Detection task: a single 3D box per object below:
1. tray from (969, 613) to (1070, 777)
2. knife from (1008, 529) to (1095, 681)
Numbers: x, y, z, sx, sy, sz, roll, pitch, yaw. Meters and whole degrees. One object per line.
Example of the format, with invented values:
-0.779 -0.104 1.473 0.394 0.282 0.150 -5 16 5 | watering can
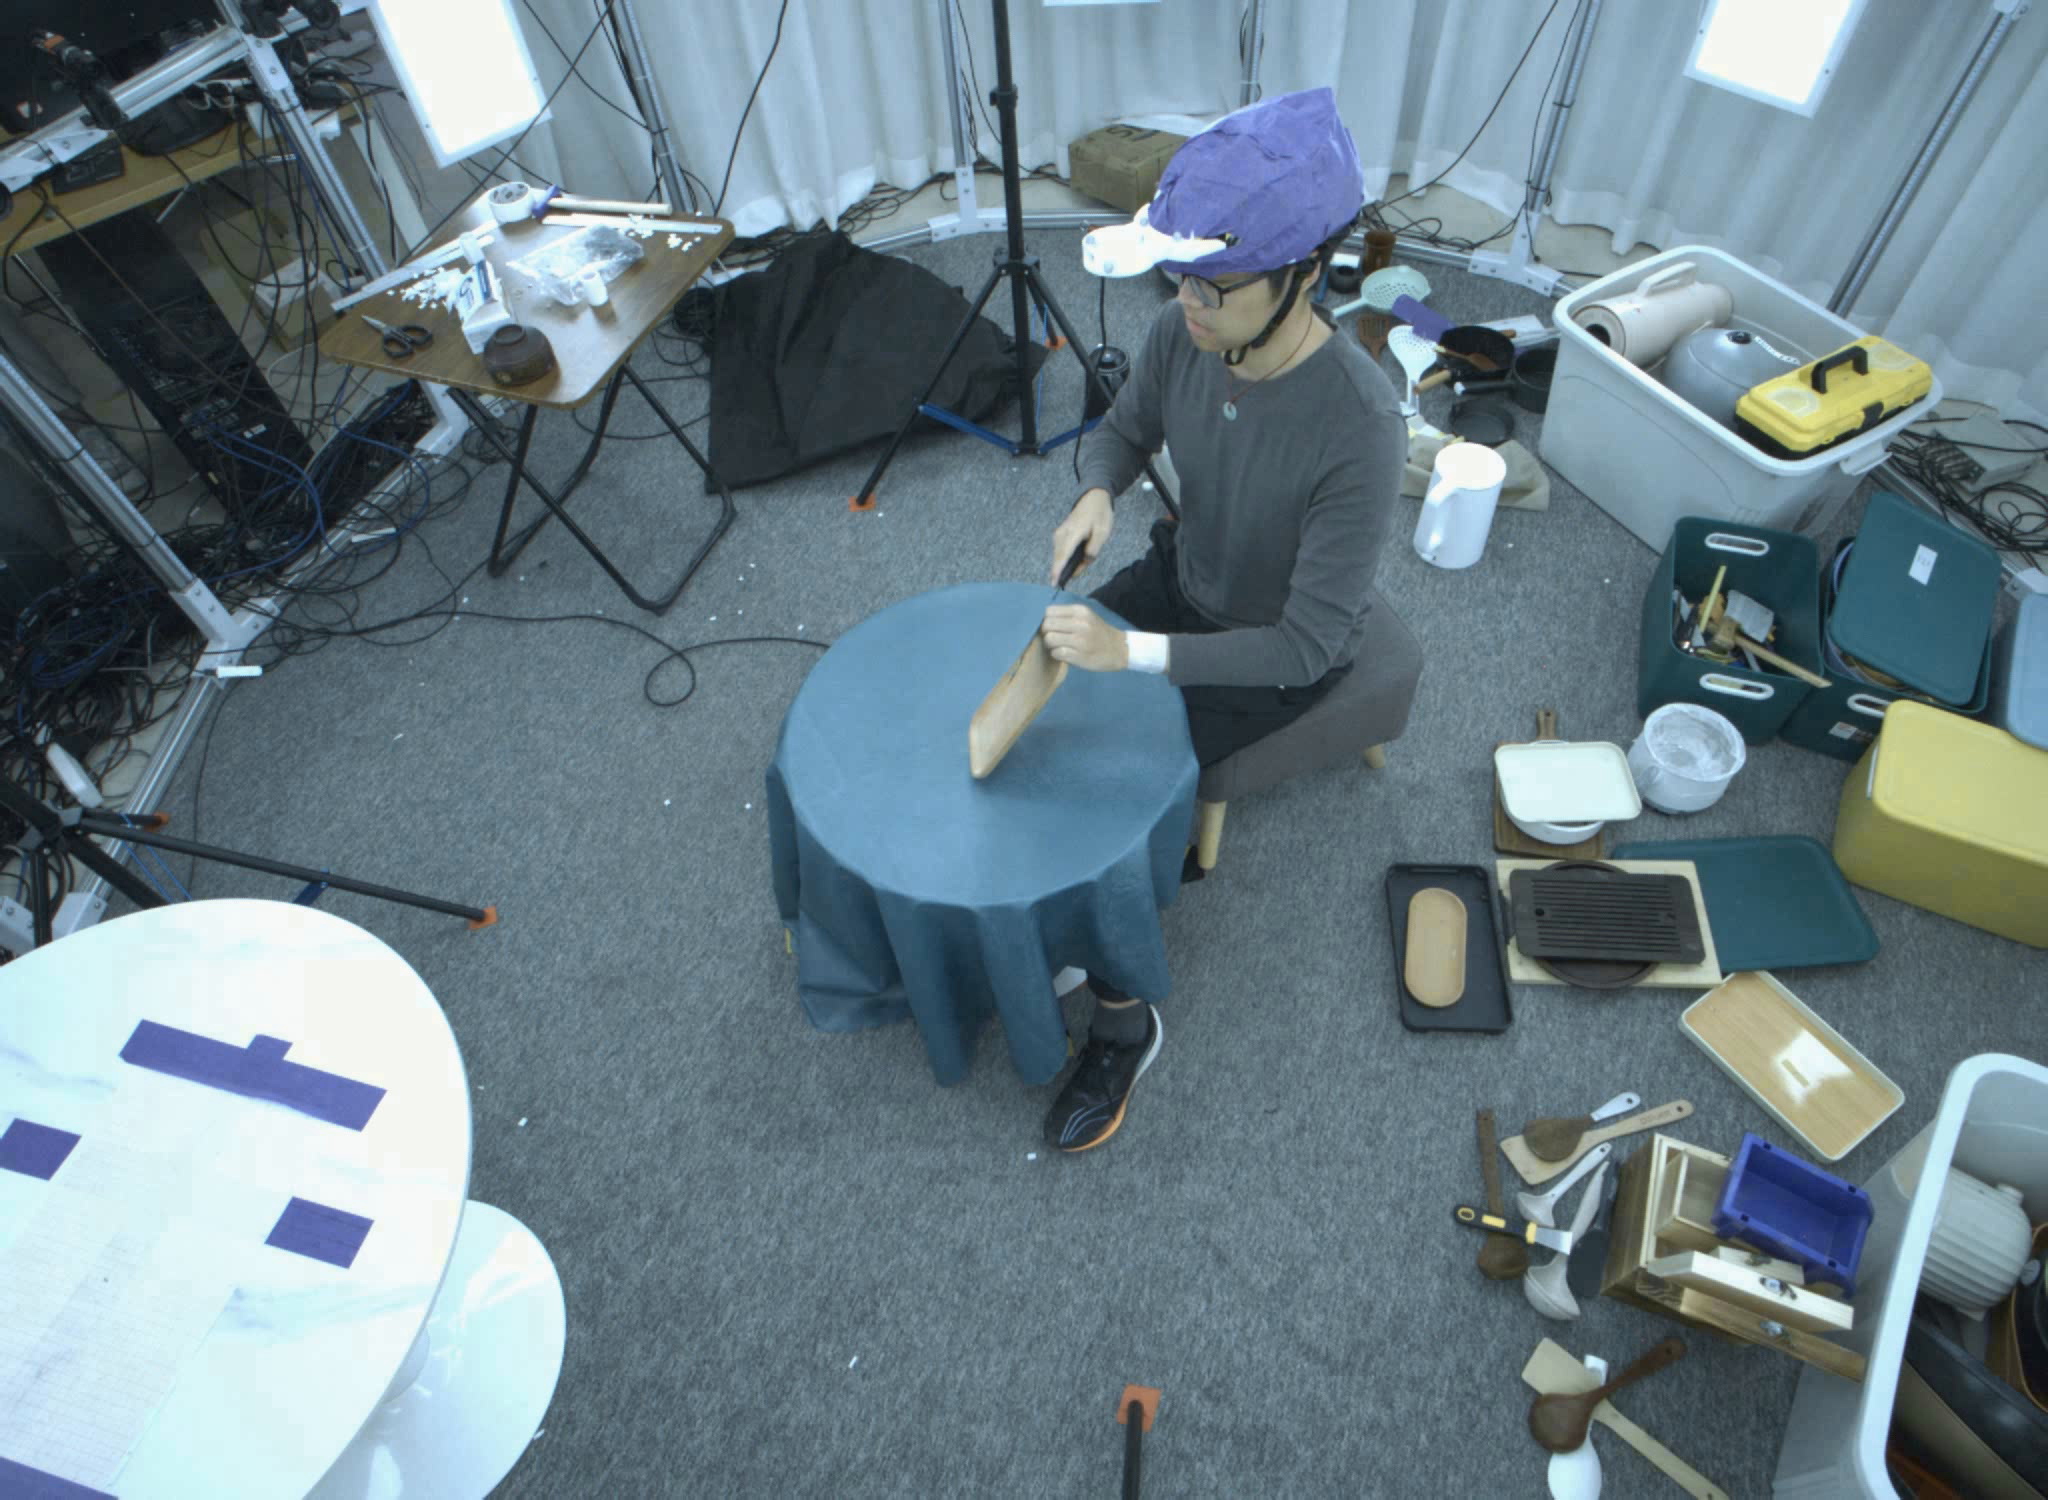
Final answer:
-0.009 -0.073 1.714 0.023 0.249 0.129 18 42 -27 | tray
0.039 -0.207 1.693 0.021 0.080 0.302 28 53 -2 | knife
